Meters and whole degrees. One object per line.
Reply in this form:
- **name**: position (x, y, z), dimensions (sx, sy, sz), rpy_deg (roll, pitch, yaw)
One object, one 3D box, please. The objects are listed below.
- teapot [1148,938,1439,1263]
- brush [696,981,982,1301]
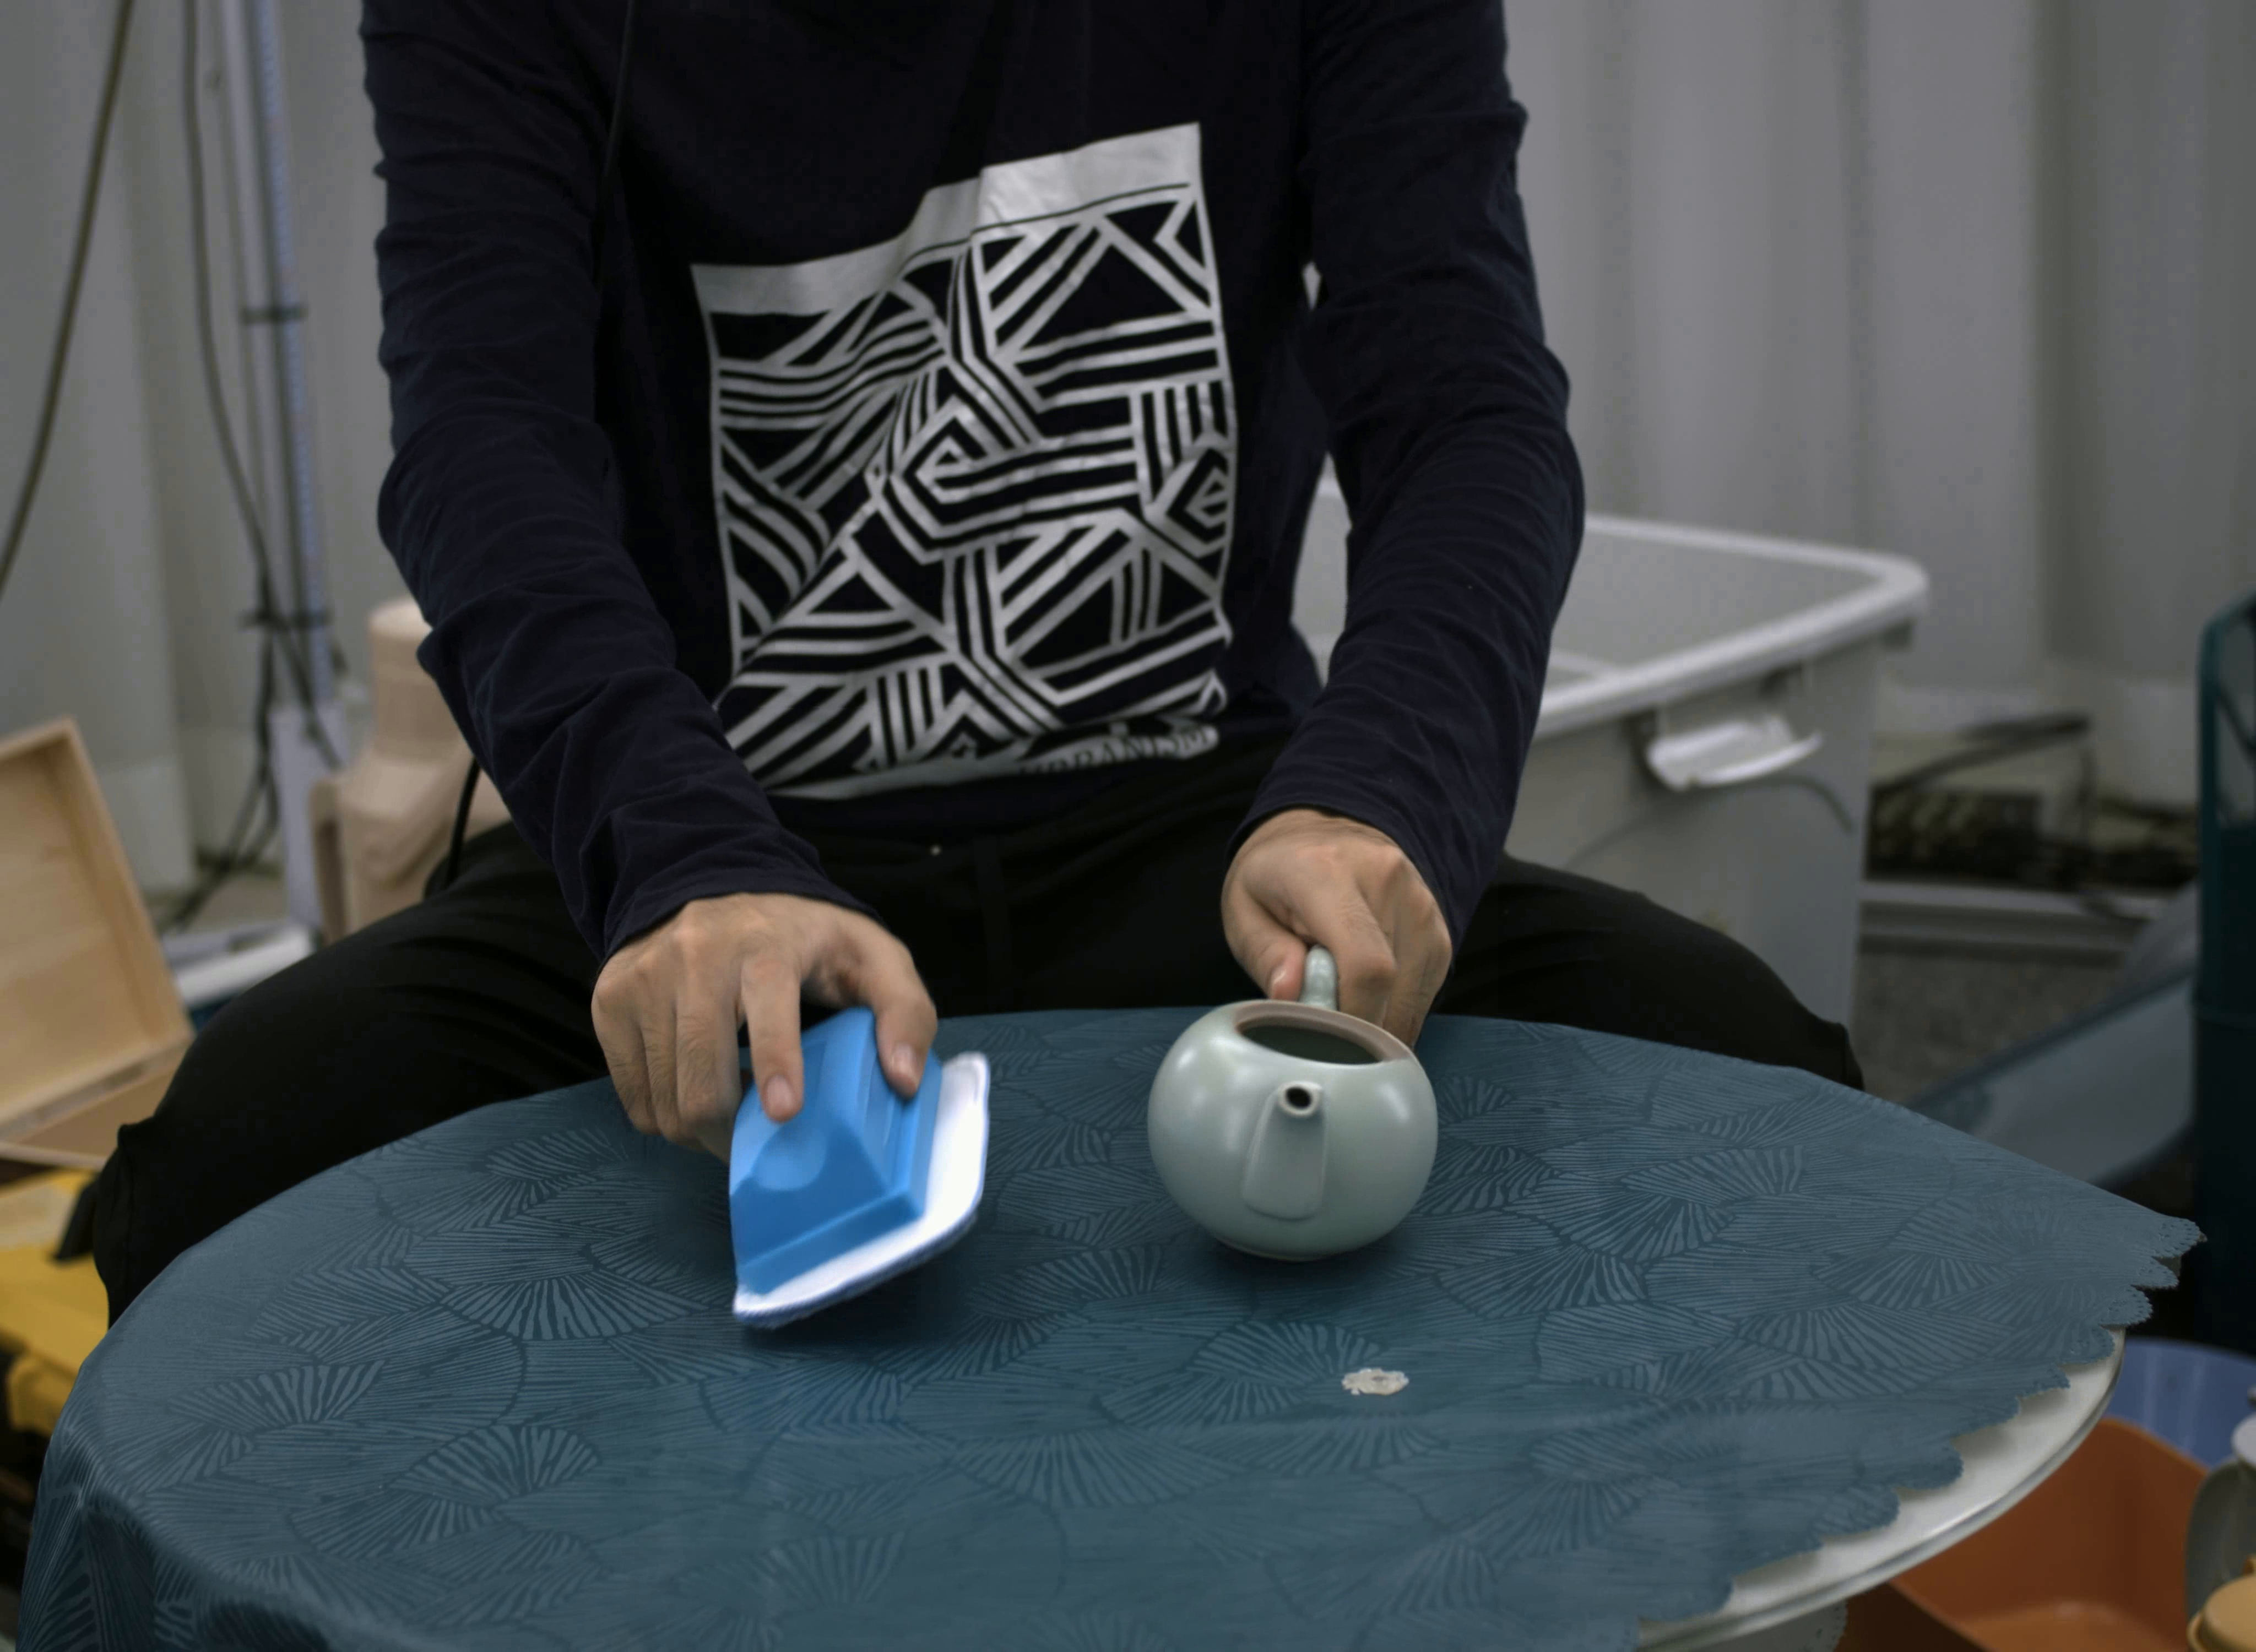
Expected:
- **teapot**: position (0.050, 0.090, 1.646), dimensions (0.088, 0.074, 0.145), rpy_deg (10, 20, 6)
- **brush**: position (-0.092, 0.091, 1.649), dimensions (0.083, 0.055, 0.145), rpy_deg (-21, 19, 10)
